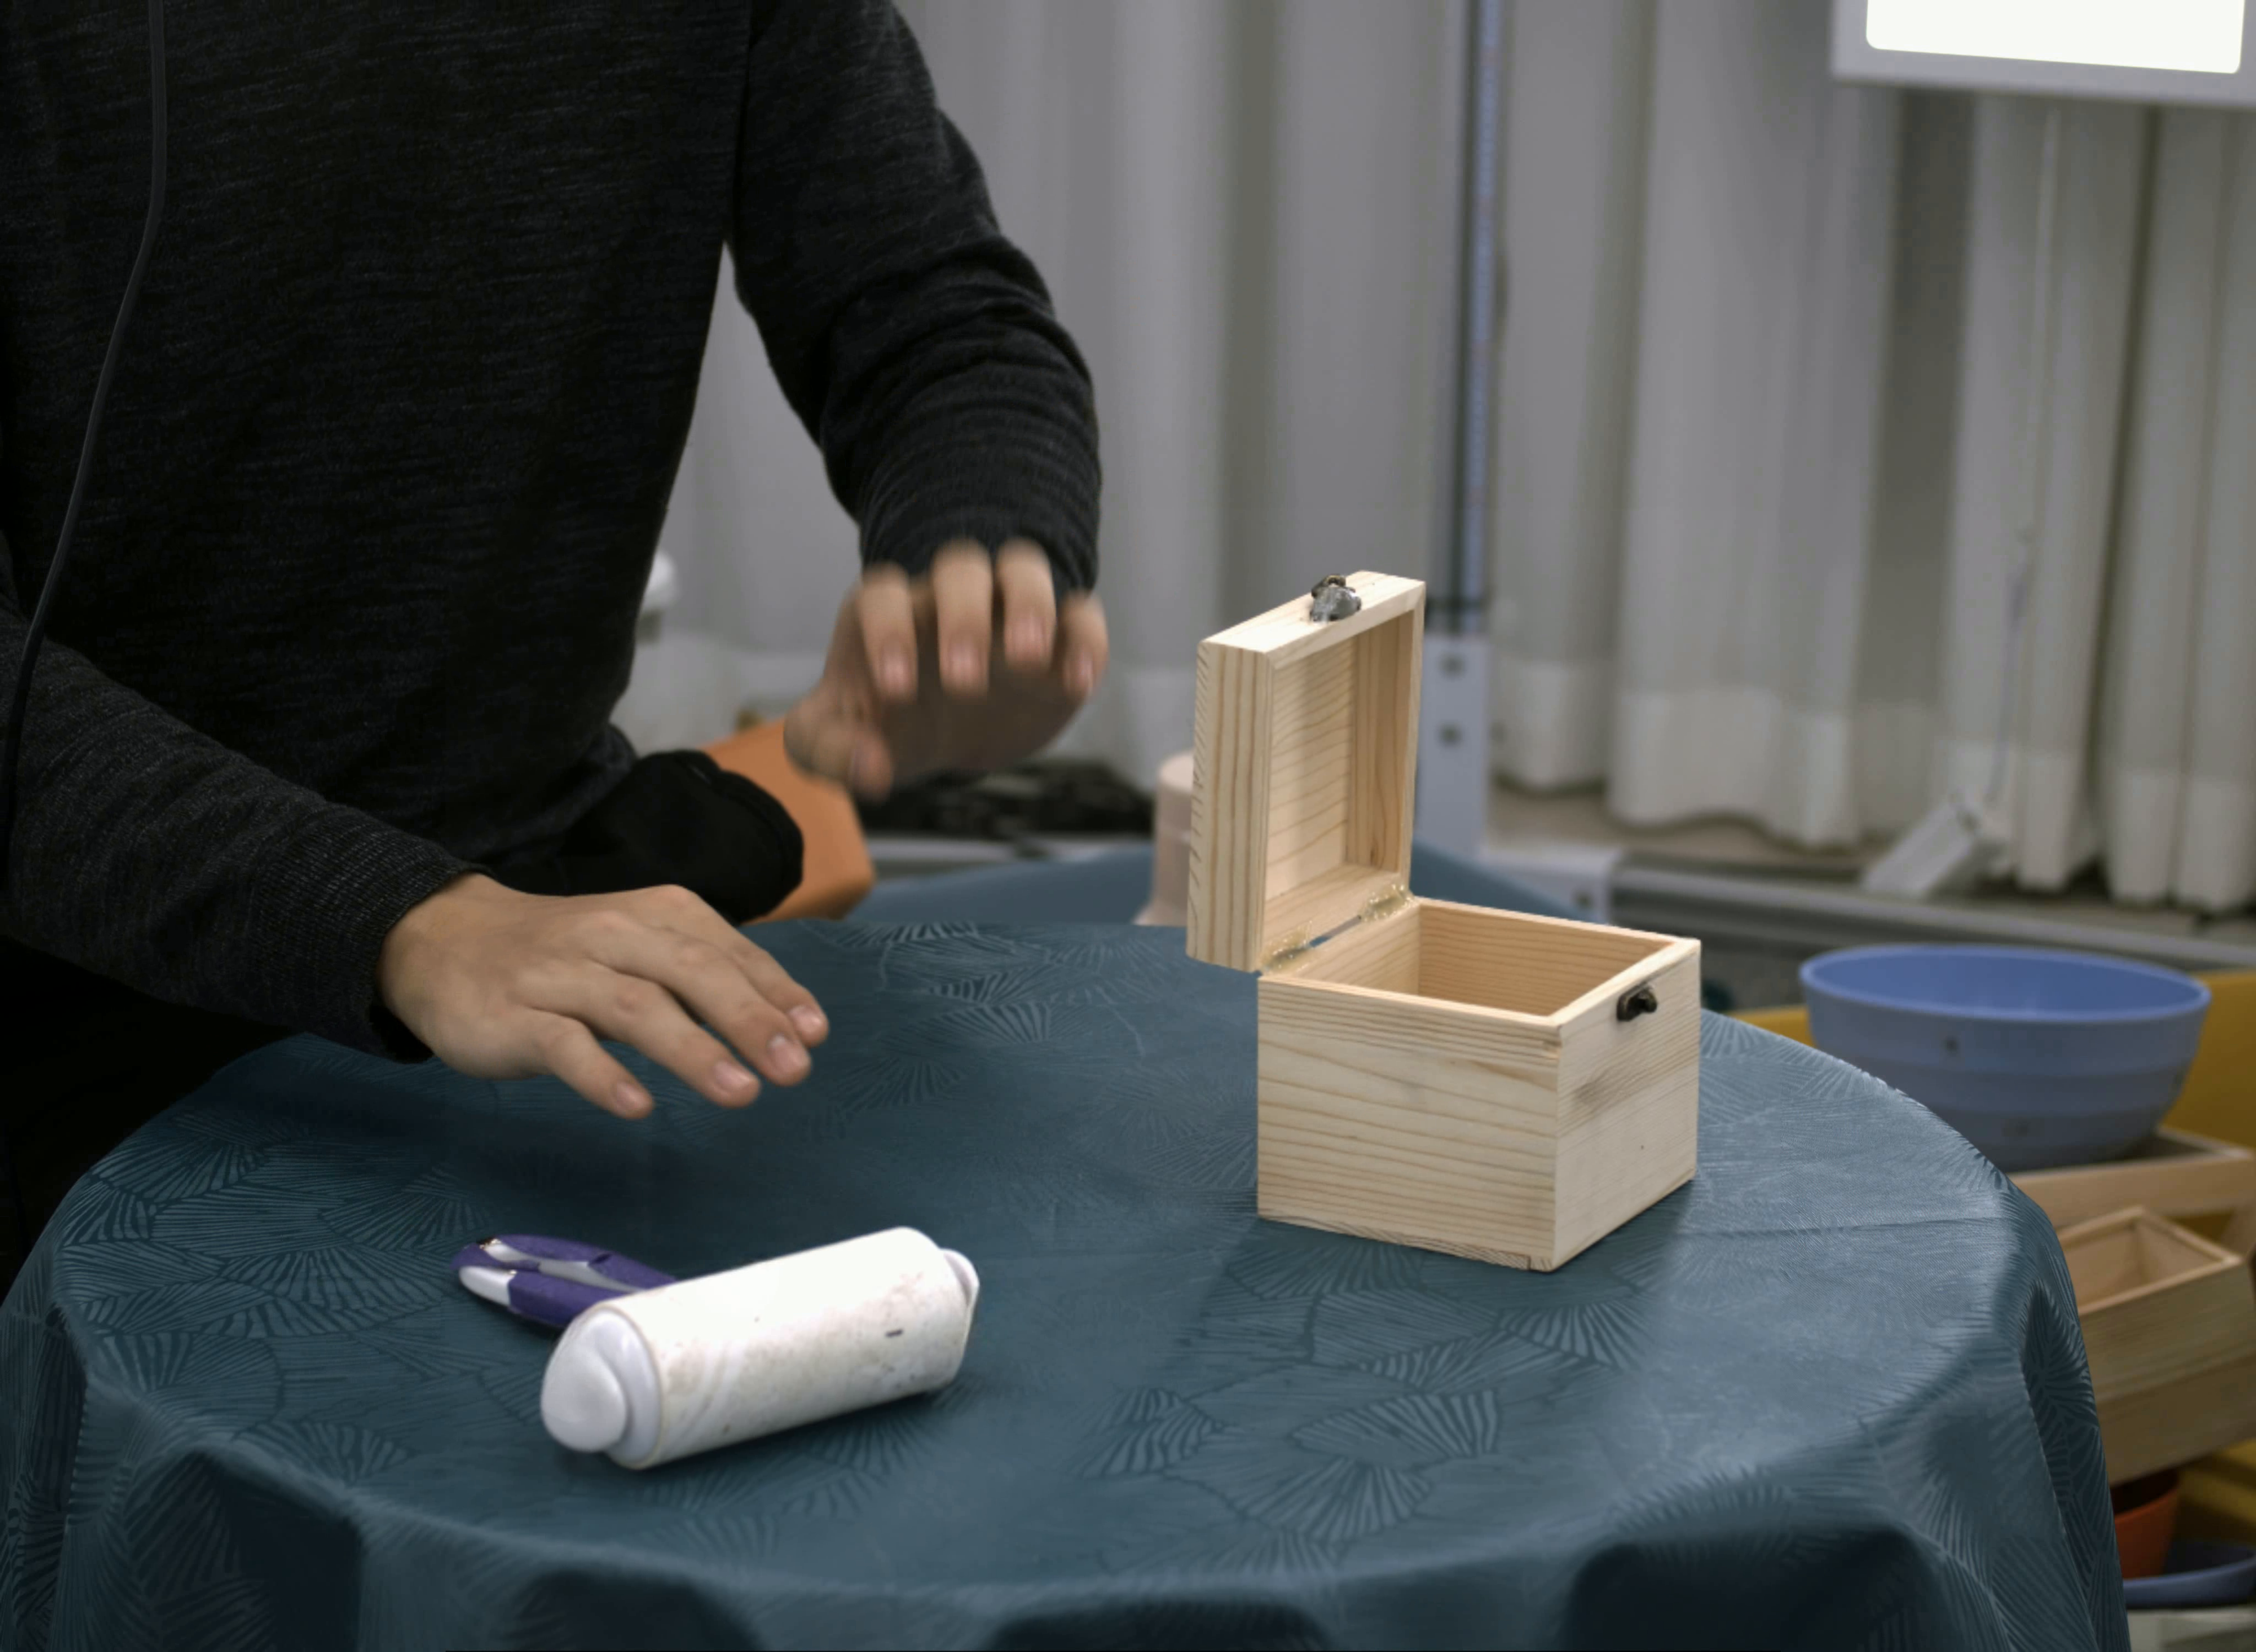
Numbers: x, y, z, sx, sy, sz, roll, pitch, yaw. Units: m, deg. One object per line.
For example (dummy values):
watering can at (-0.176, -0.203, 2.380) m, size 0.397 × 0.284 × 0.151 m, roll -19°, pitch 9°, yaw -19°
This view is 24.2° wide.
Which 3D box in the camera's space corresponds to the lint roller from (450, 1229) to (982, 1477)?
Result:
lint roller at (-0.136, 0.127, 1.476) m, size 0.133 × 0.050 × 0.178 m, roll -12°, pitch 22°, yaw -35°

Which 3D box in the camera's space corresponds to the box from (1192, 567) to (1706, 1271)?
box at (0.100, 0.024, 1.595) m, size 0.132 × 0.186 × 0.103 m, roll 9°, pitch 18°, yaw 29°
